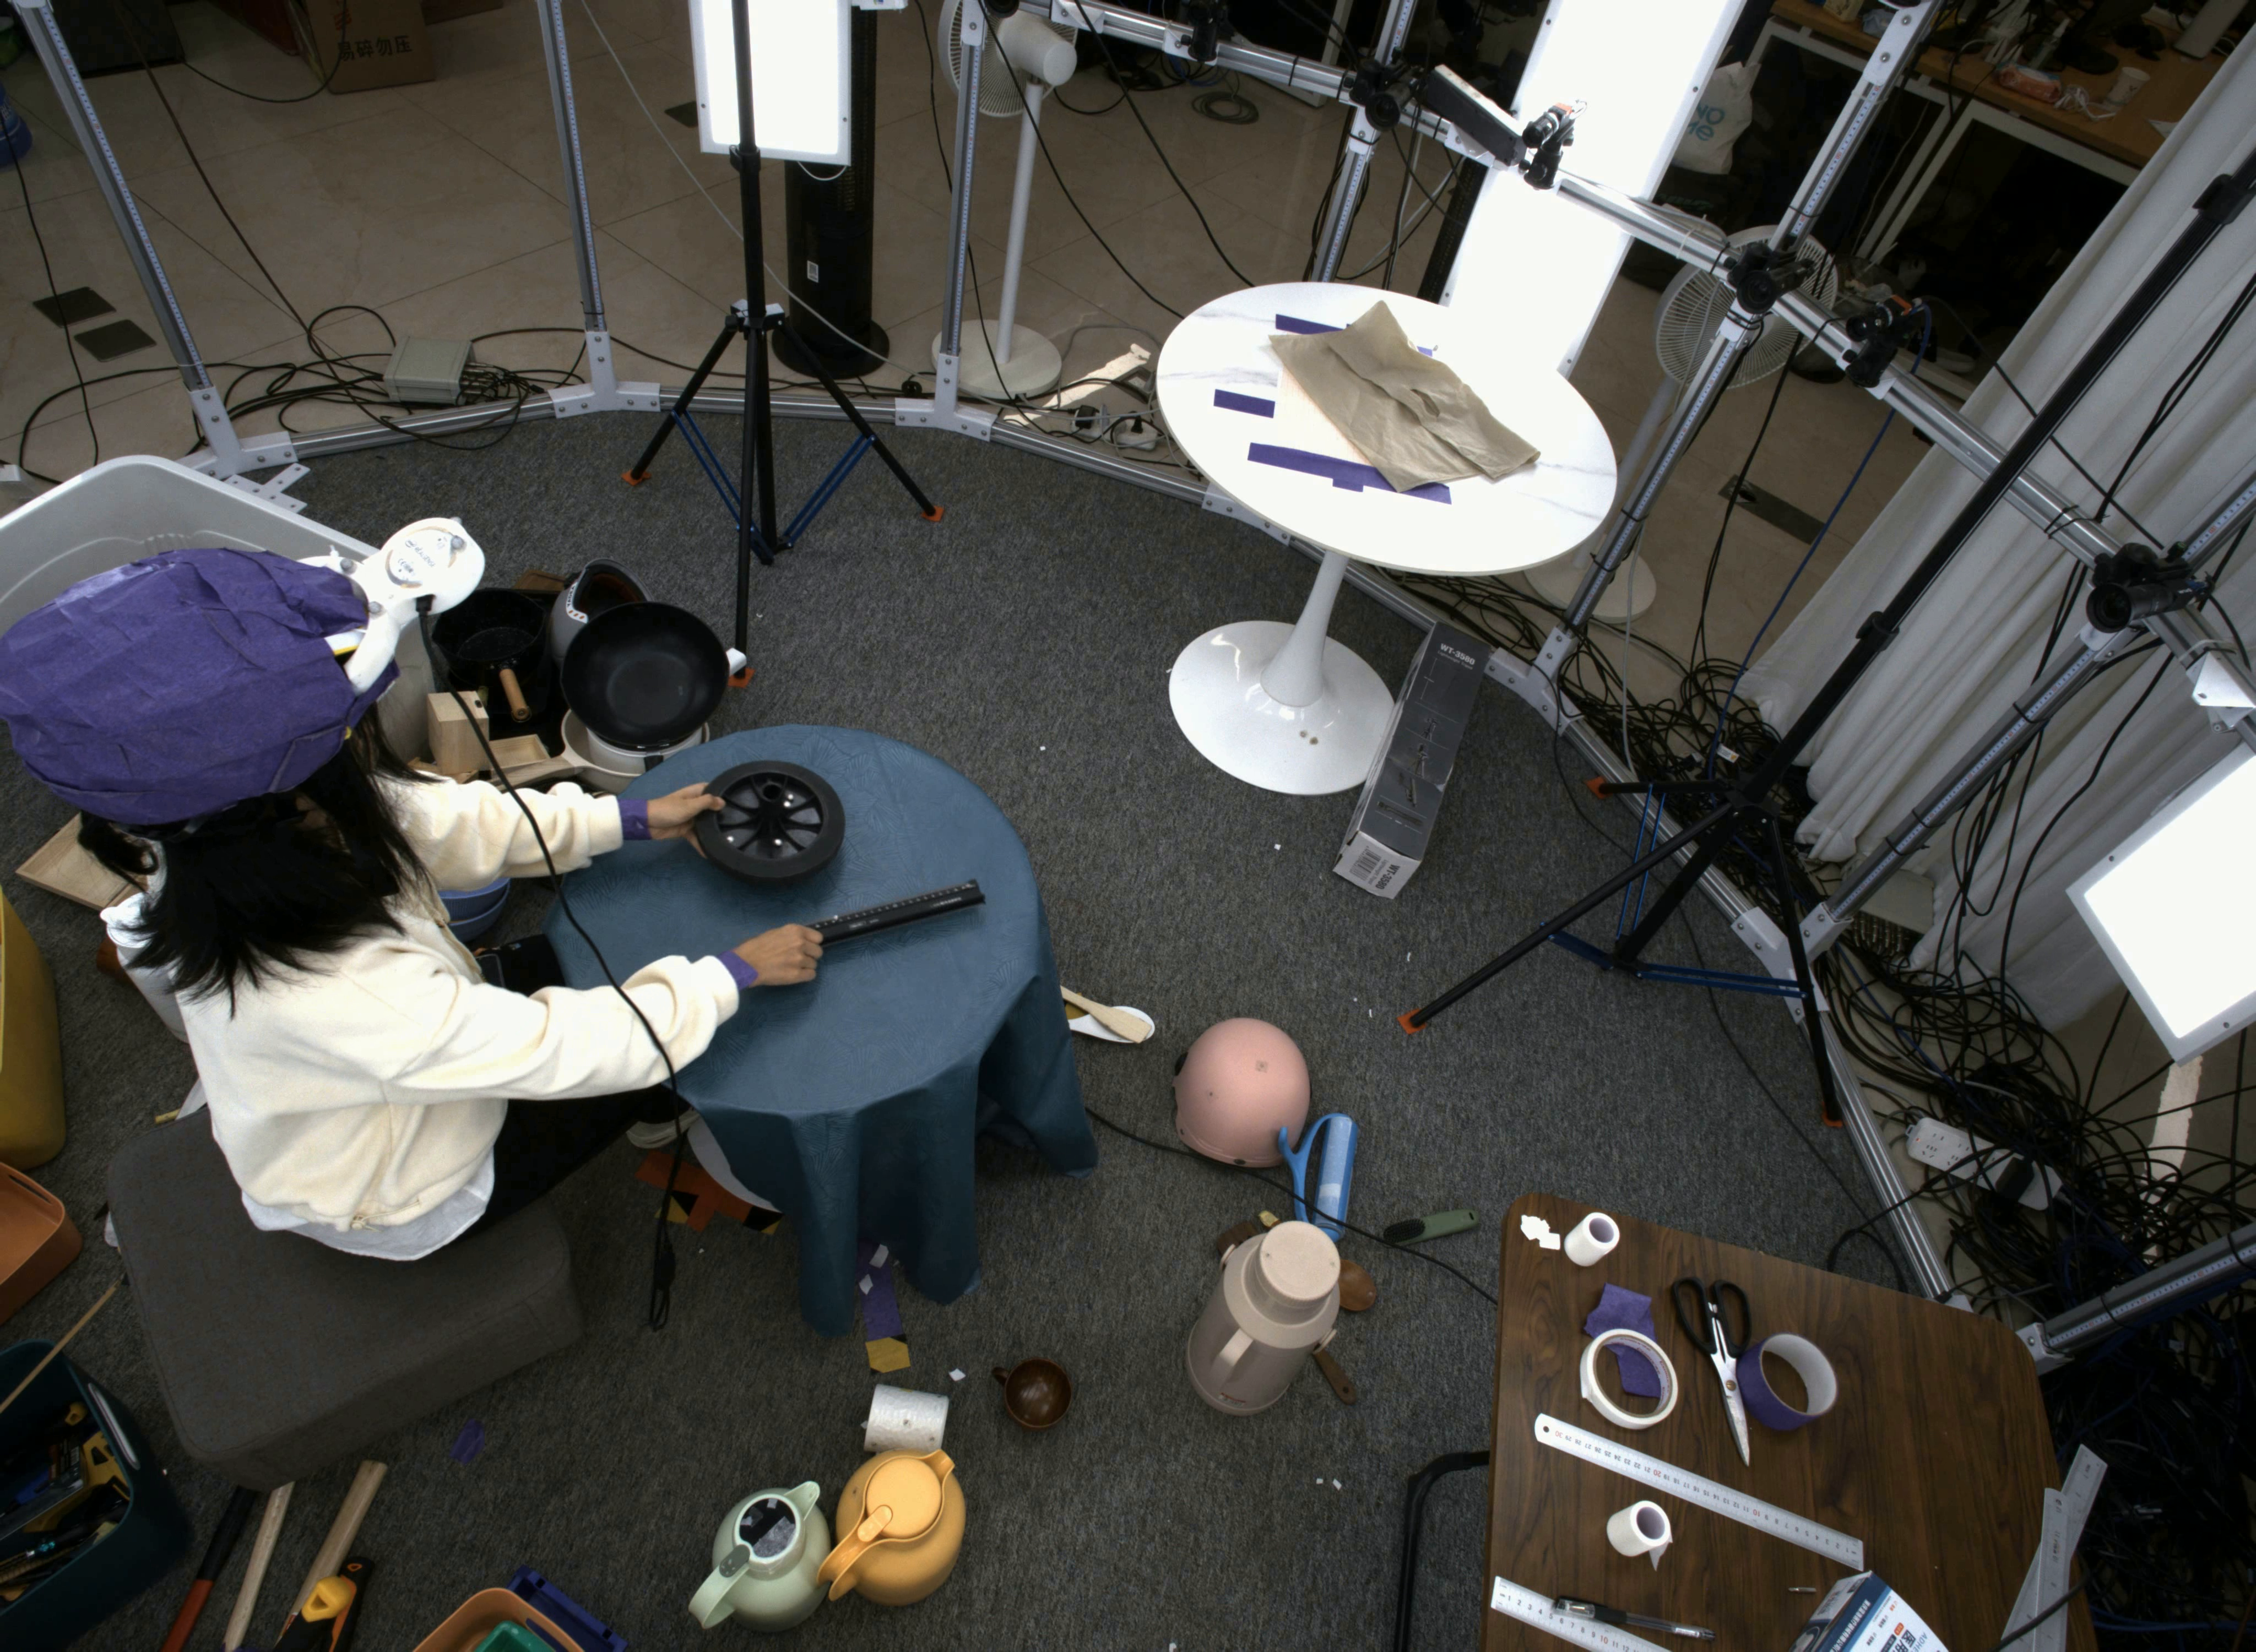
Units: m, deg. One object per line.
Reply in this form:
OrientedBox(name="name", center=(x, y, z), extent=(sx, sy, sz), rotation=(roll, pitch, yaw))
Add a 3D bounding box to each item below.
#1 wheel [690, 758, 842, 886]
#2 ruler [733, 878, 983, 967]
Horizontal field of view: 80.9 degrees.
OrientedBox(name="wheel", center=(-0.455, -0.021, 1.629), extent=(0.188, 0.080, 0.186), rotation=(-22, 64, -31))
OrientedBox(name="ruler", center=(-0.332, 0.113, 1.614), extent=(0.314, 0.017, 0.038), rotation=(-14, 62, -21))
